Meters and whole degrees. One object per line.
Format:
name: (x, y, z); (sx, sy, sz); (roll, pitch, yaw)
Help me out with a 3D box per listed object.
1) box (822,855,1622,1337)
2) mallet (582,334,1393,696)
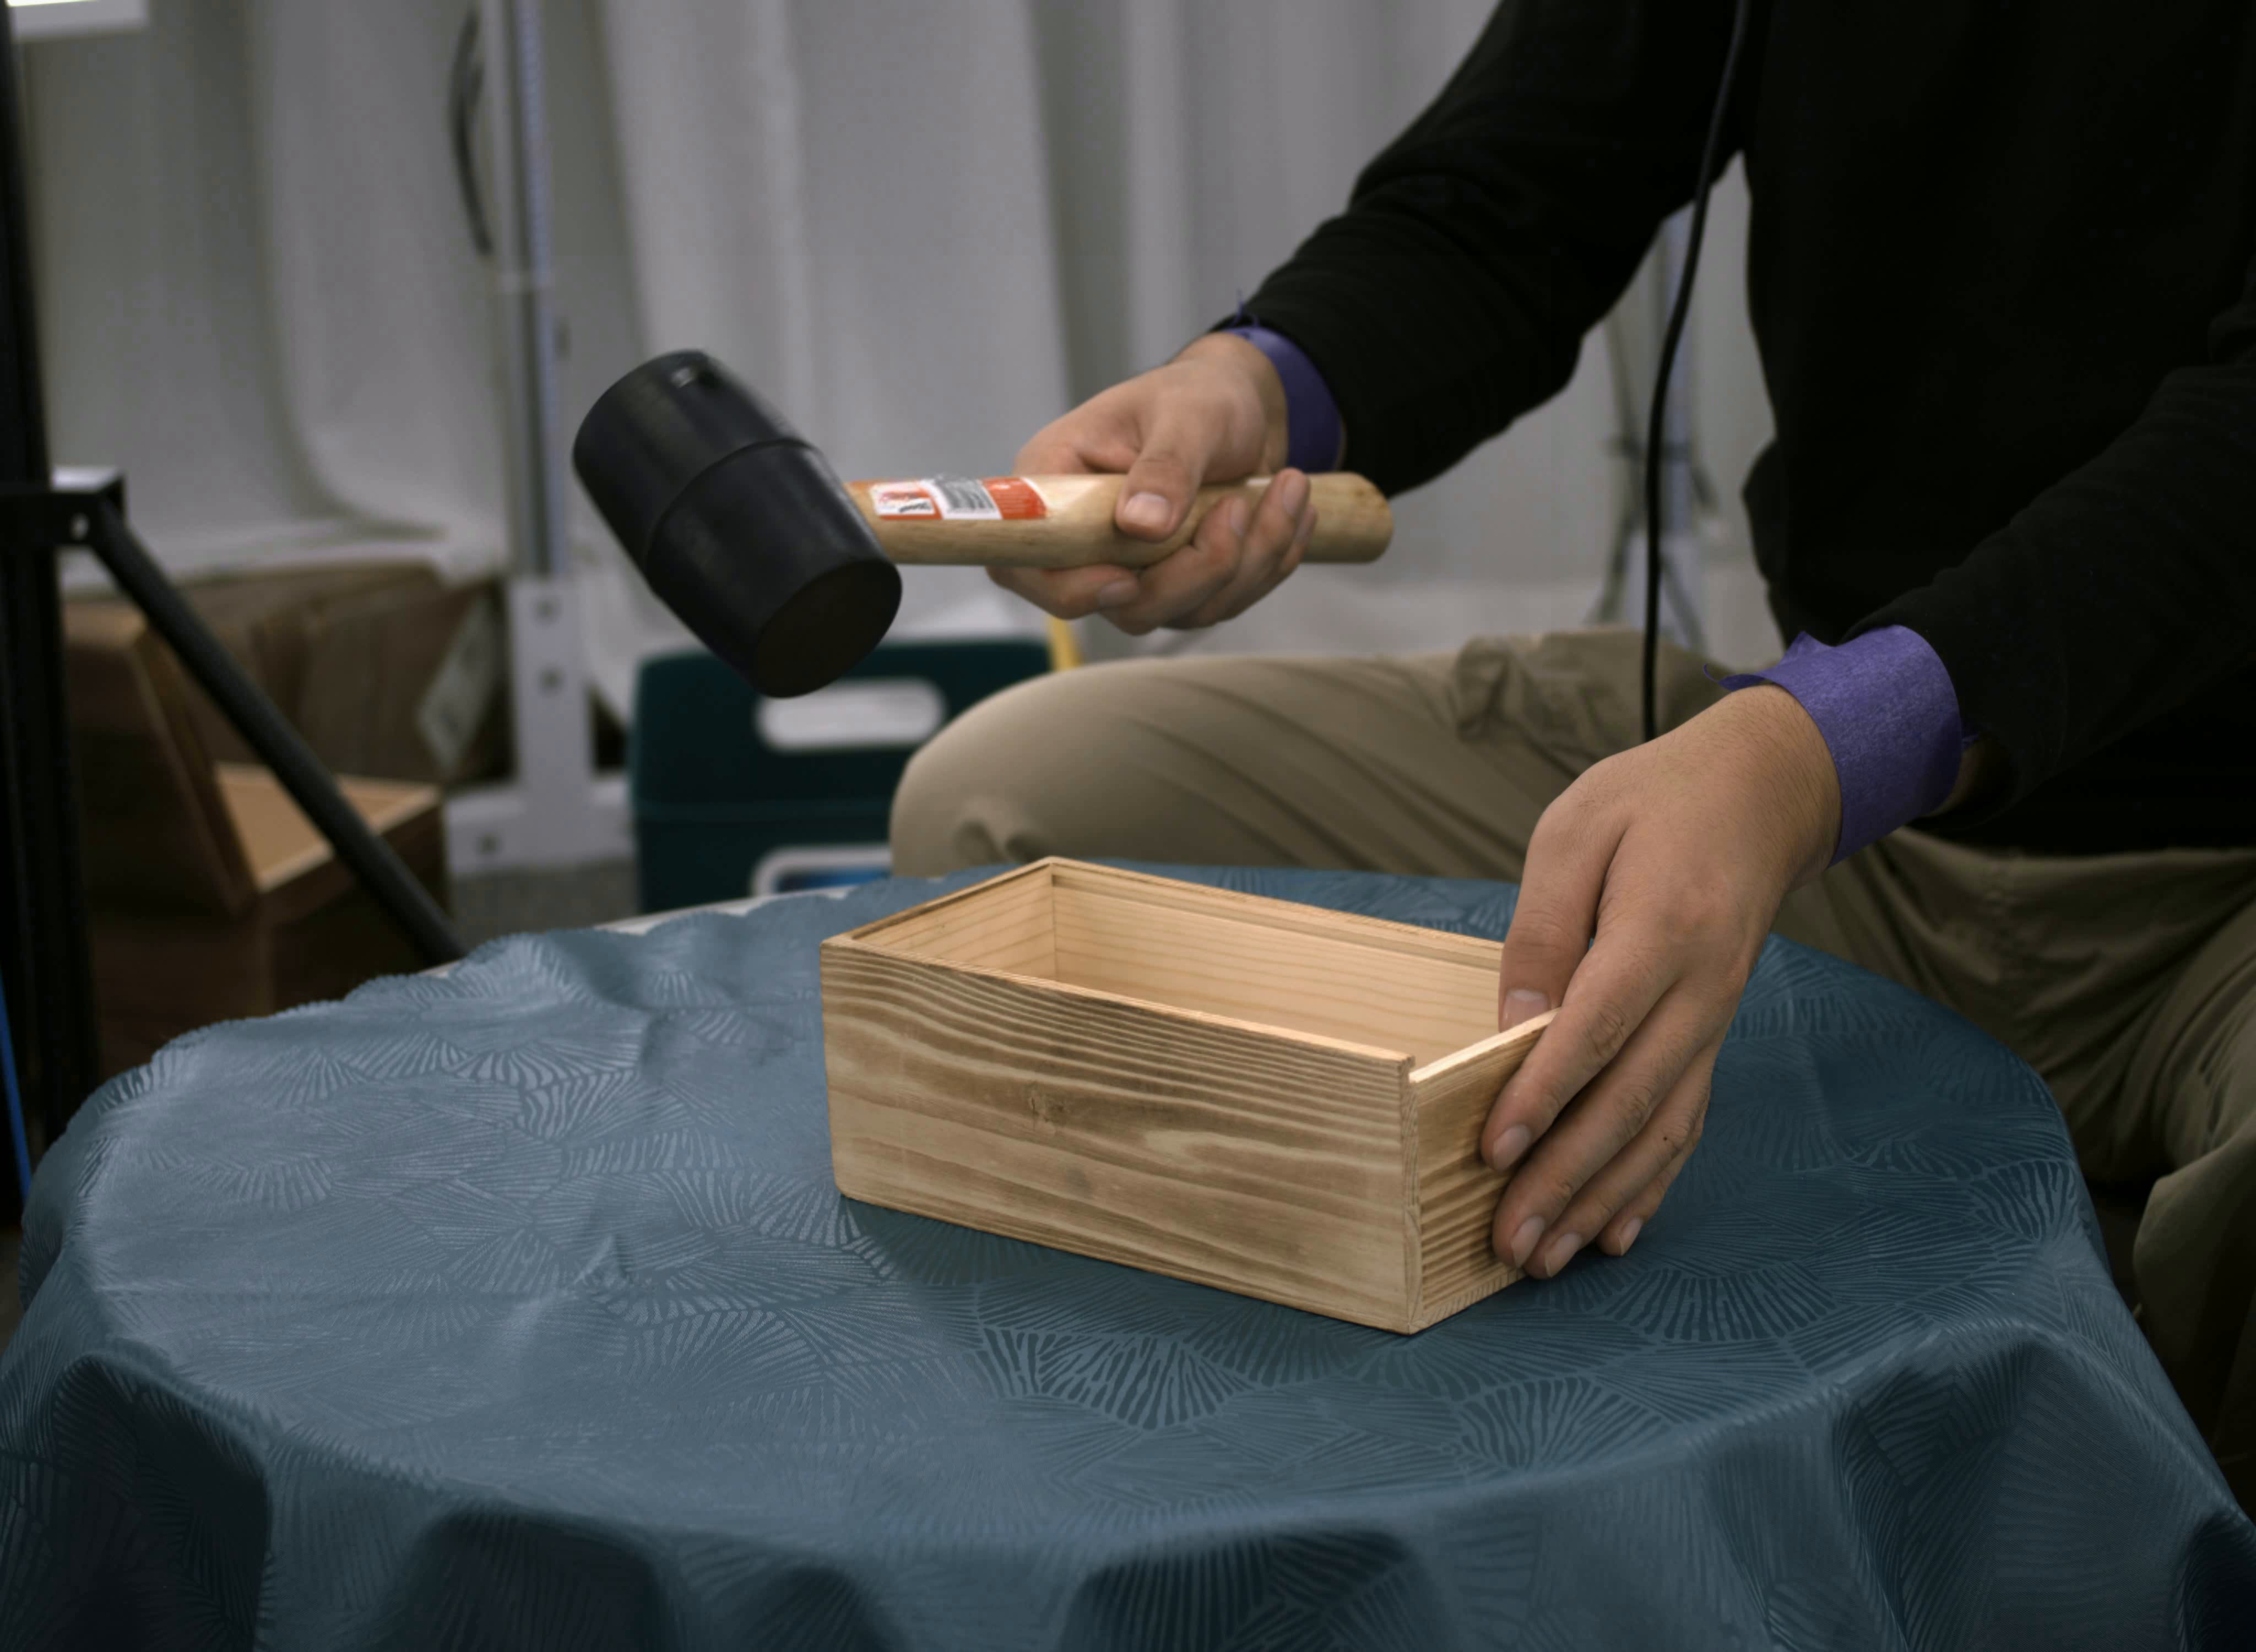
box: (0.026, 0.074, 1.525); (0.216, 0.080, 0.105); (11, 20, 39)
mallet: (-0.024, -0.101, 1.677); (0.330, 0.065, 0.103); (-5, 52, -47)
